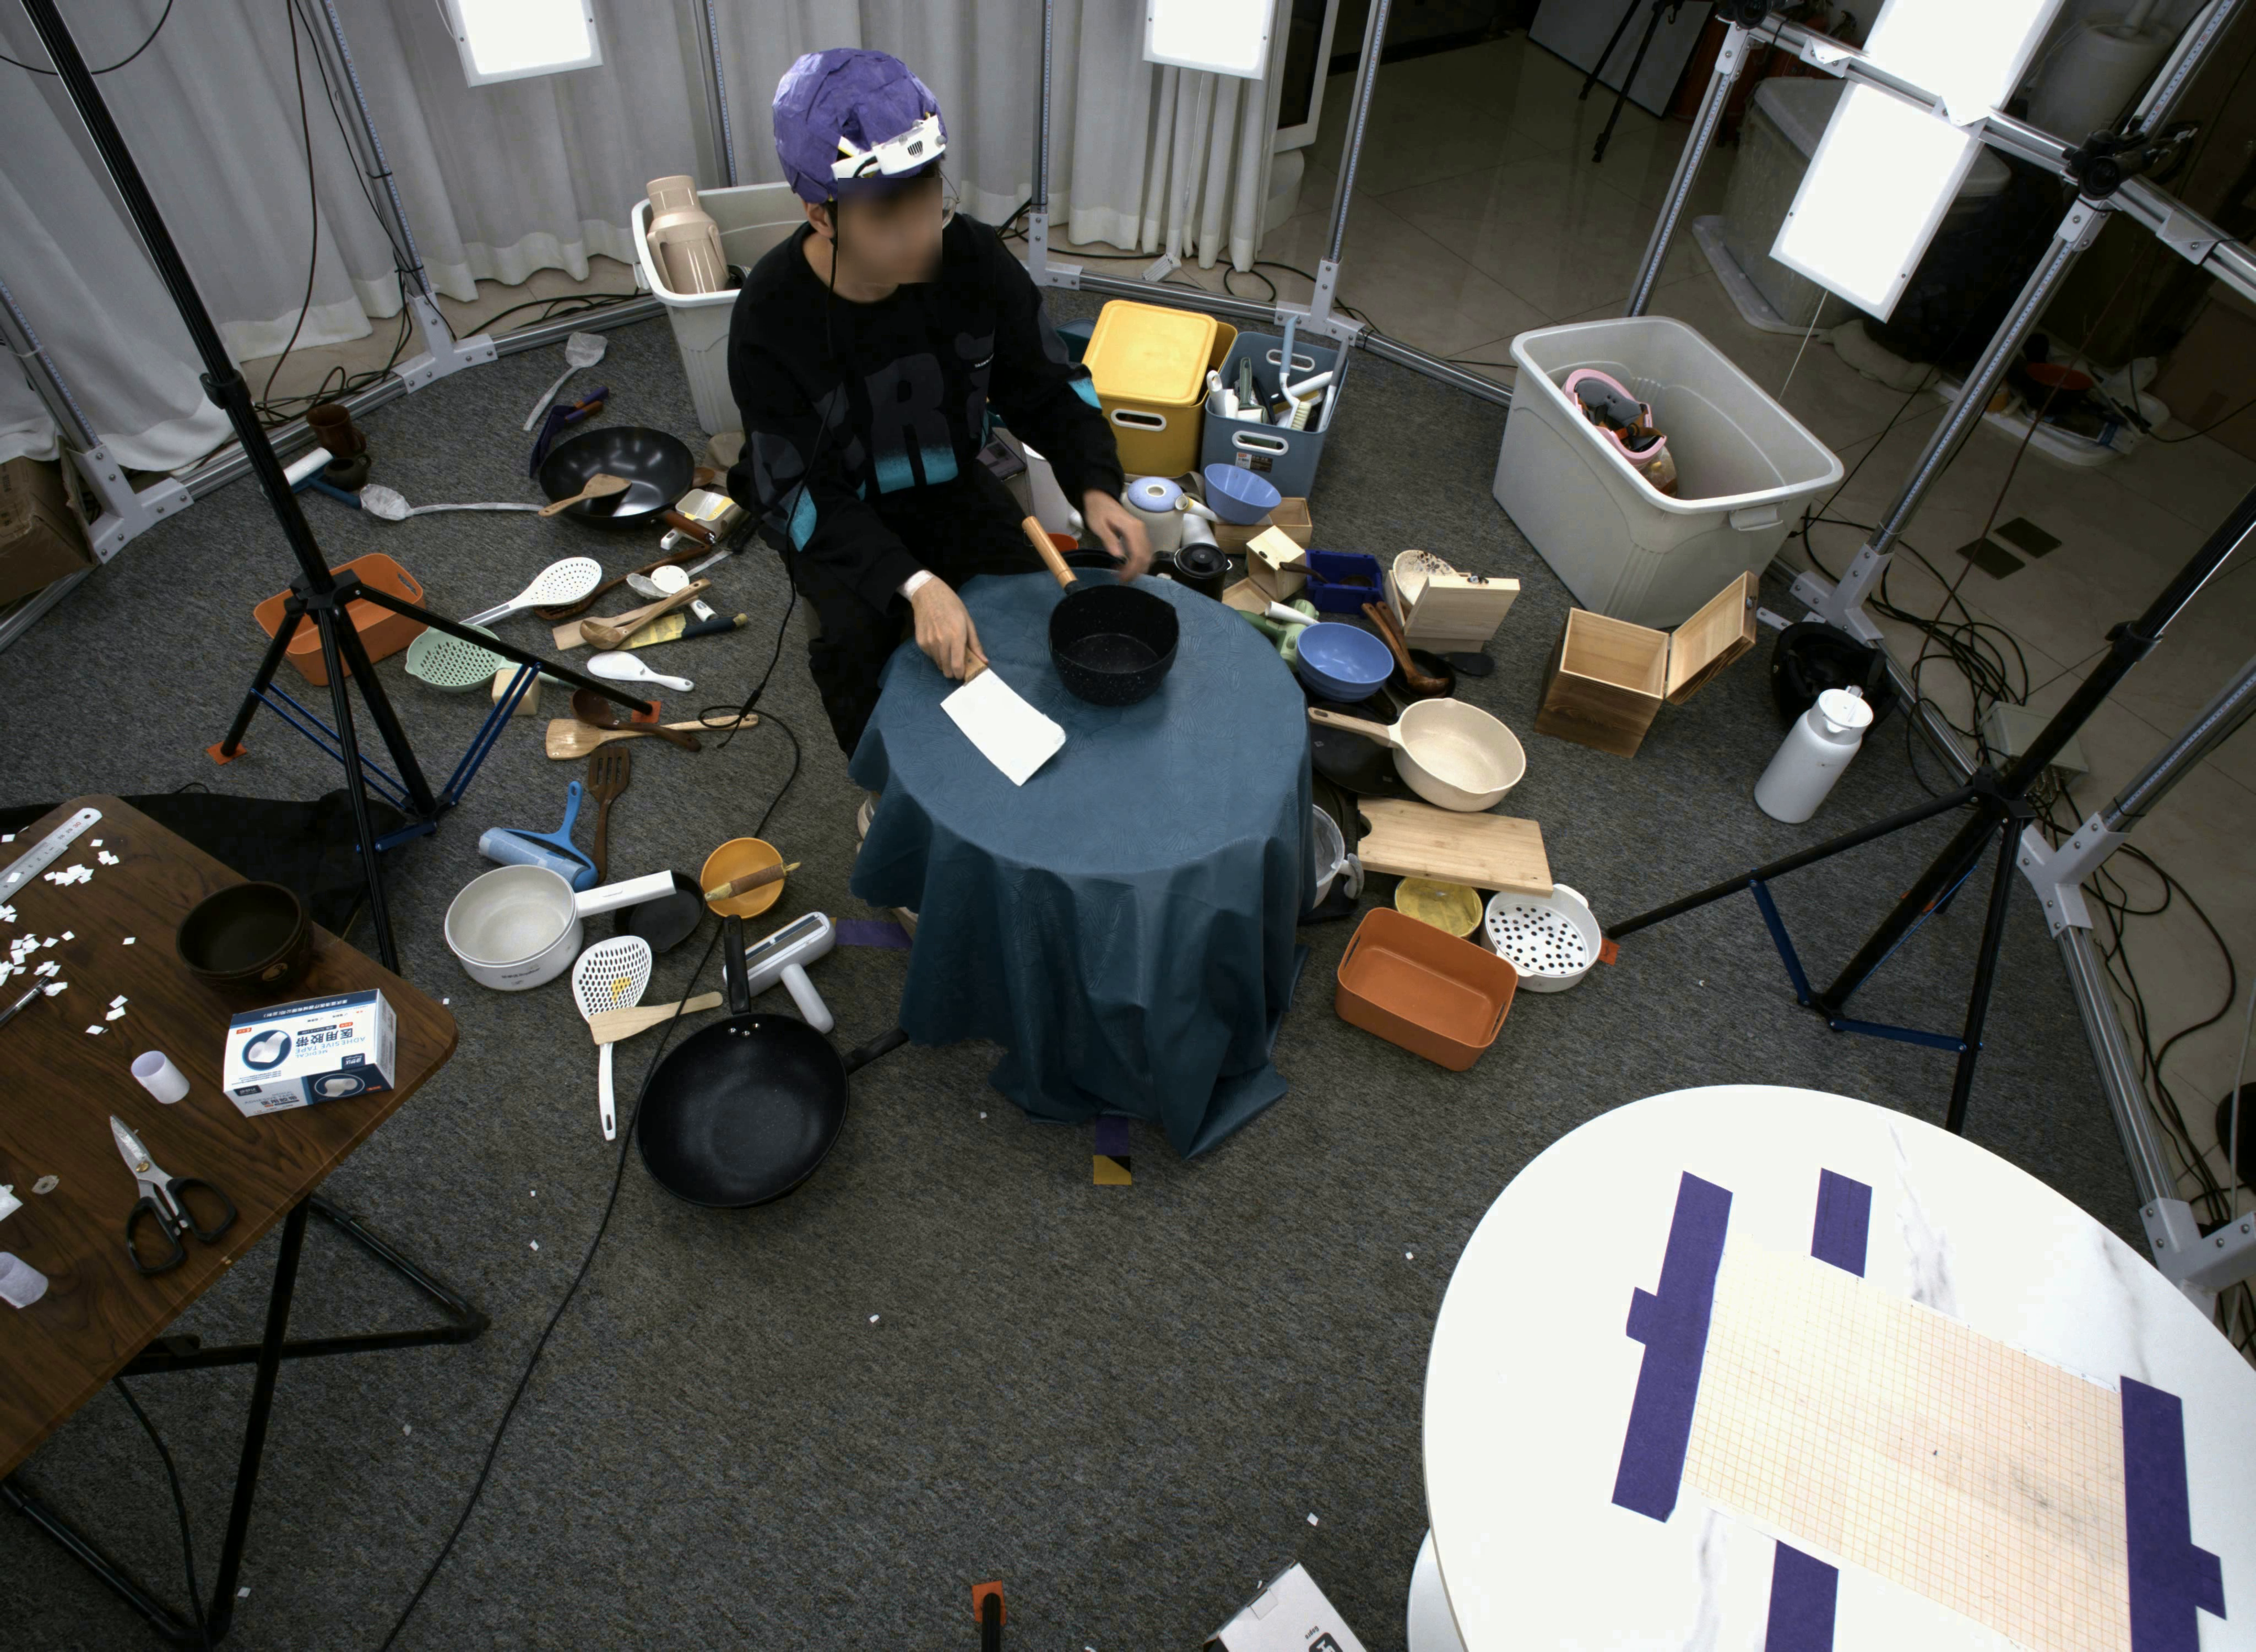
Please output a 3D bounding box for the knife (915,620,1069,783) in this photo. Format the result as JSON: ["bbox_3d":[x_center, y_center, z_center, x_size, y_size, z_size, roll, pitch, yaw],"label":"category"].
[{"bbox_3d":[-0.199,-0.184,1.787,0.114,0.021,0.321,-37,61,-8],"label":"knife"}]

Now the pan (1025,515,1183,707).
[{"bbox_3d":[-0.060,-0.312,1.865,0.208,0.105,0.349,-25,56,-22],"label":"pan"}]
